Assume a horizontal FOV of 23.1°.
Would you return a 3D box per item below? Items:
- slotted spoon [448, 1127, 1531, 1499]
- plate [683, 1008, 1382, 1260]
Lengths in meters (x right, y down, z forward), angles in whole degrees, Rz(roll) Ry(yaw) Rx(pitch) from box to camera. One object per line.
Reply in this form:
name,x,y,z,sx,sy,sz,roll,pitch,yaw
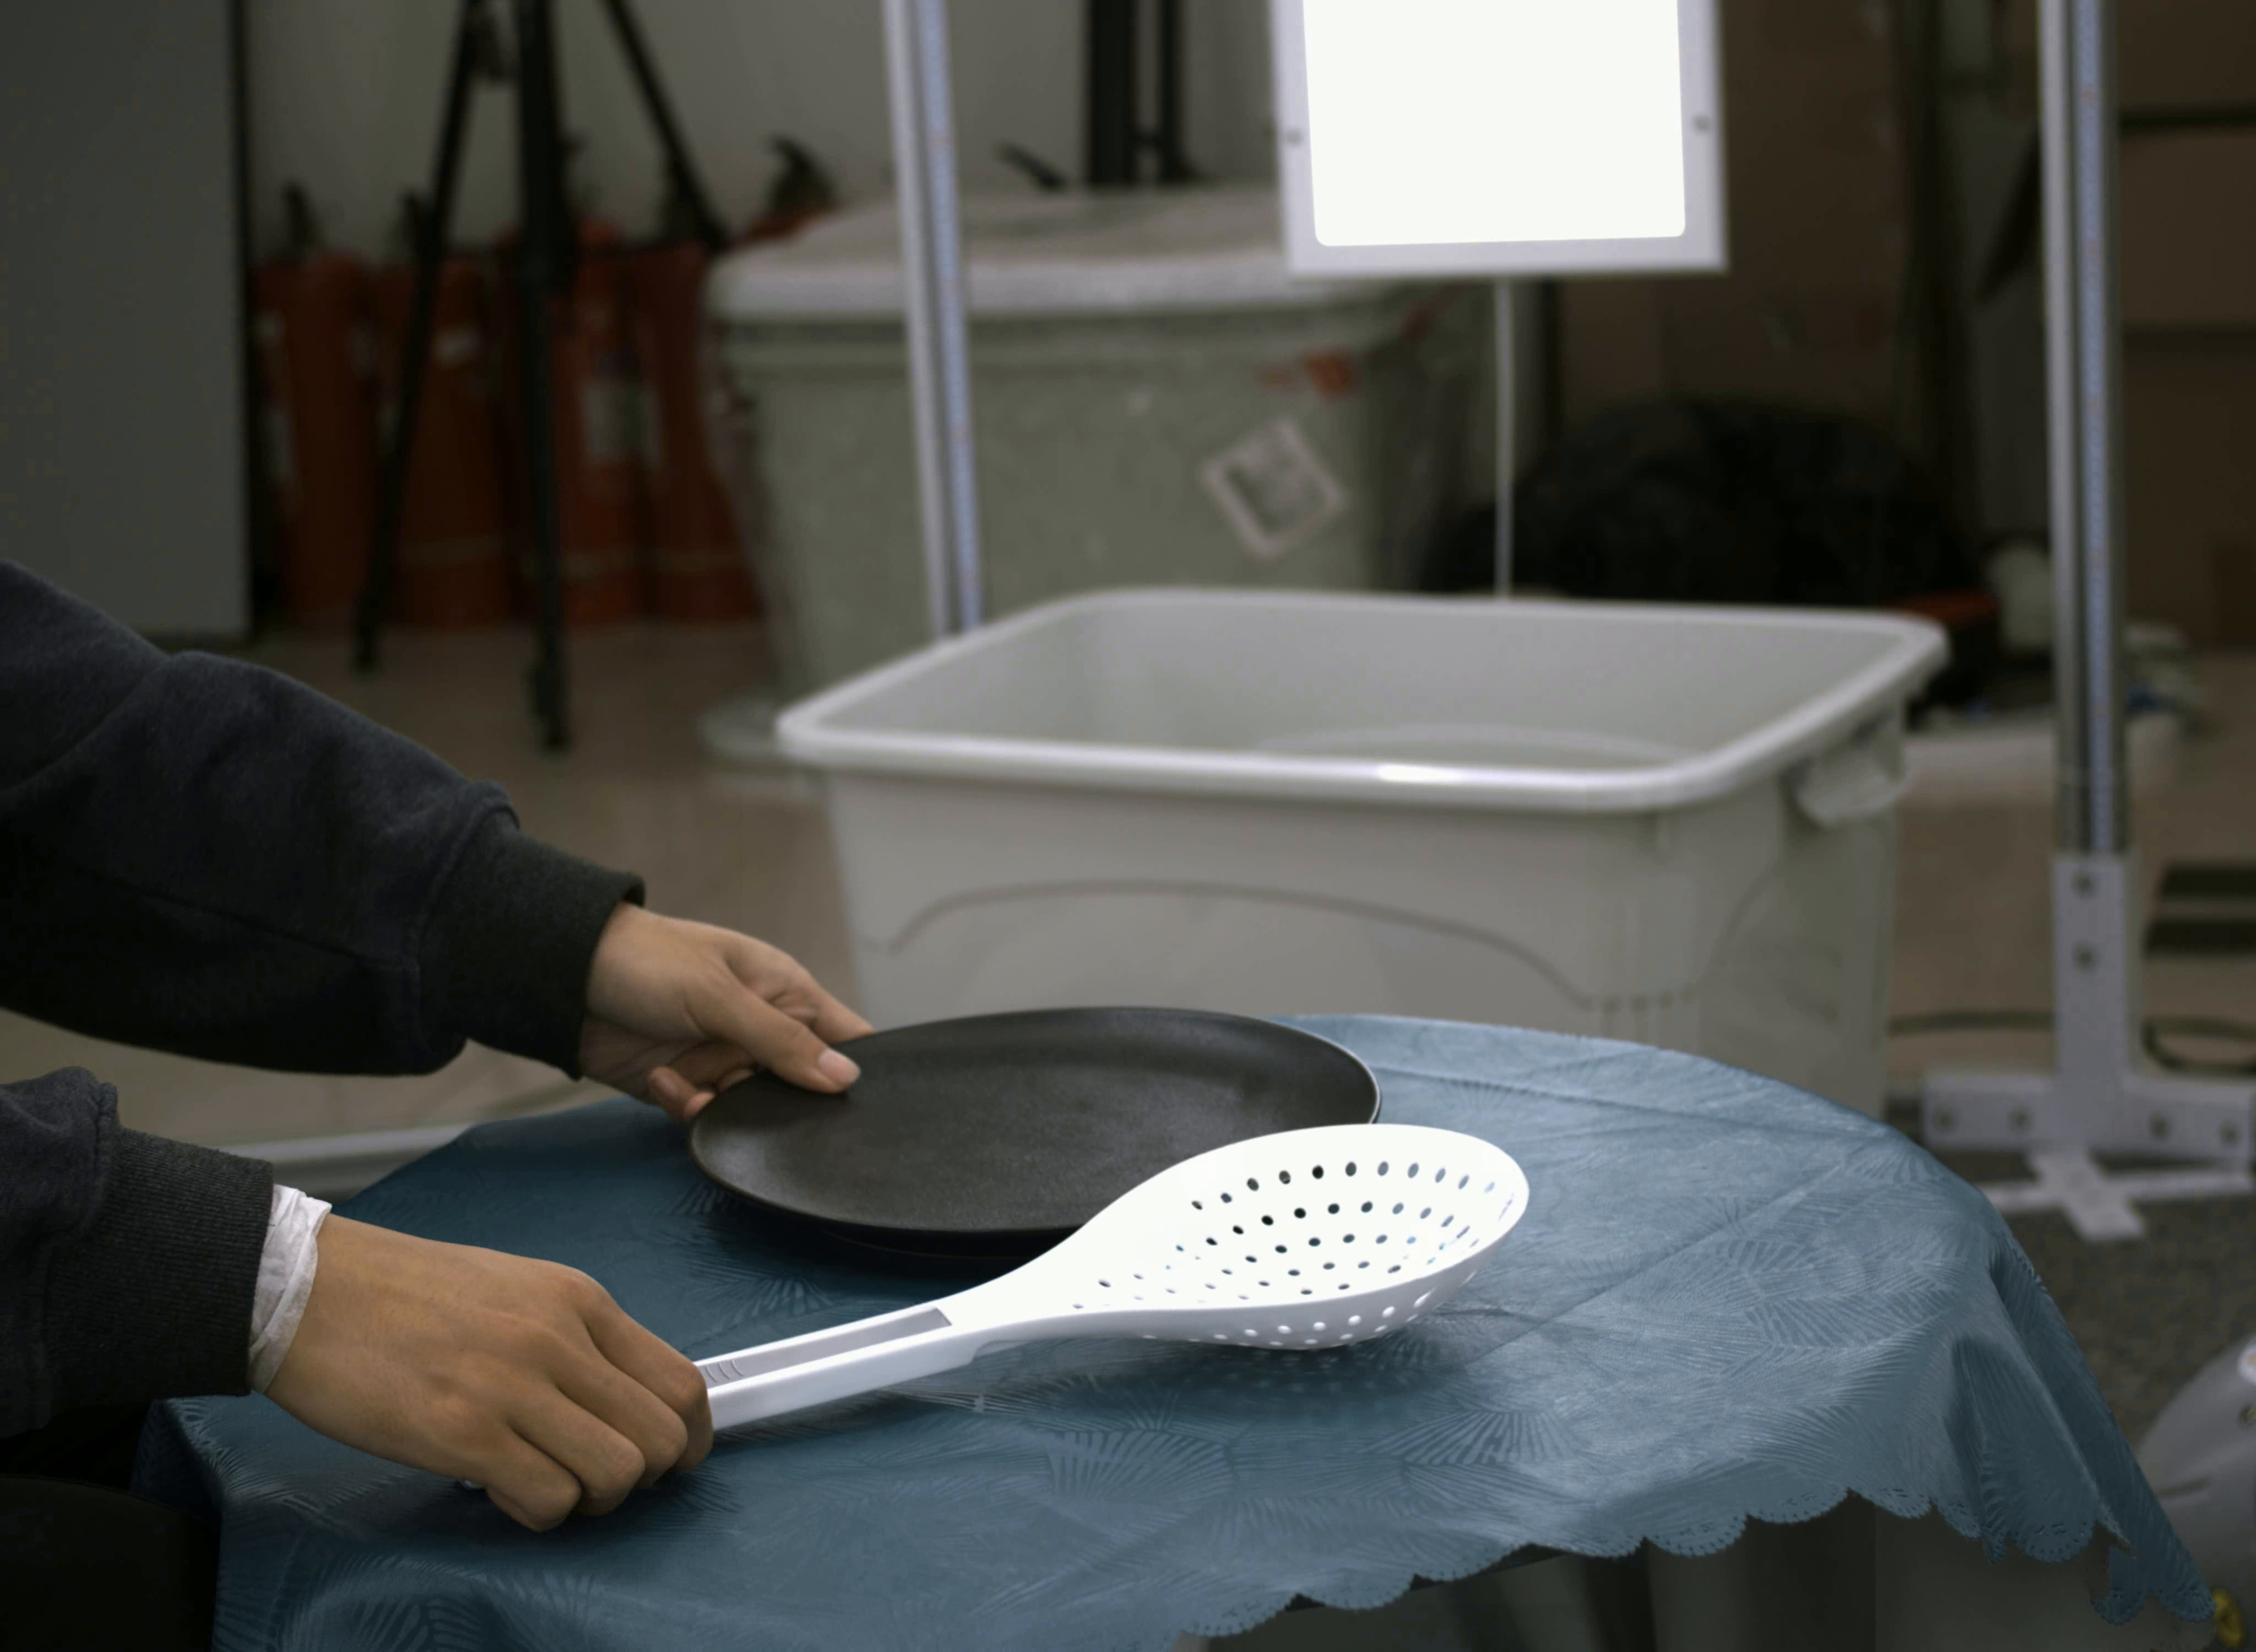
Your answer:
slotted spoon,-0.040,0.153,1.706,0.344,0.046,0.137,-10,16,-15
plate,-0.032,0.110,1.918,0.244,0.023,0.244,-4,15,0
